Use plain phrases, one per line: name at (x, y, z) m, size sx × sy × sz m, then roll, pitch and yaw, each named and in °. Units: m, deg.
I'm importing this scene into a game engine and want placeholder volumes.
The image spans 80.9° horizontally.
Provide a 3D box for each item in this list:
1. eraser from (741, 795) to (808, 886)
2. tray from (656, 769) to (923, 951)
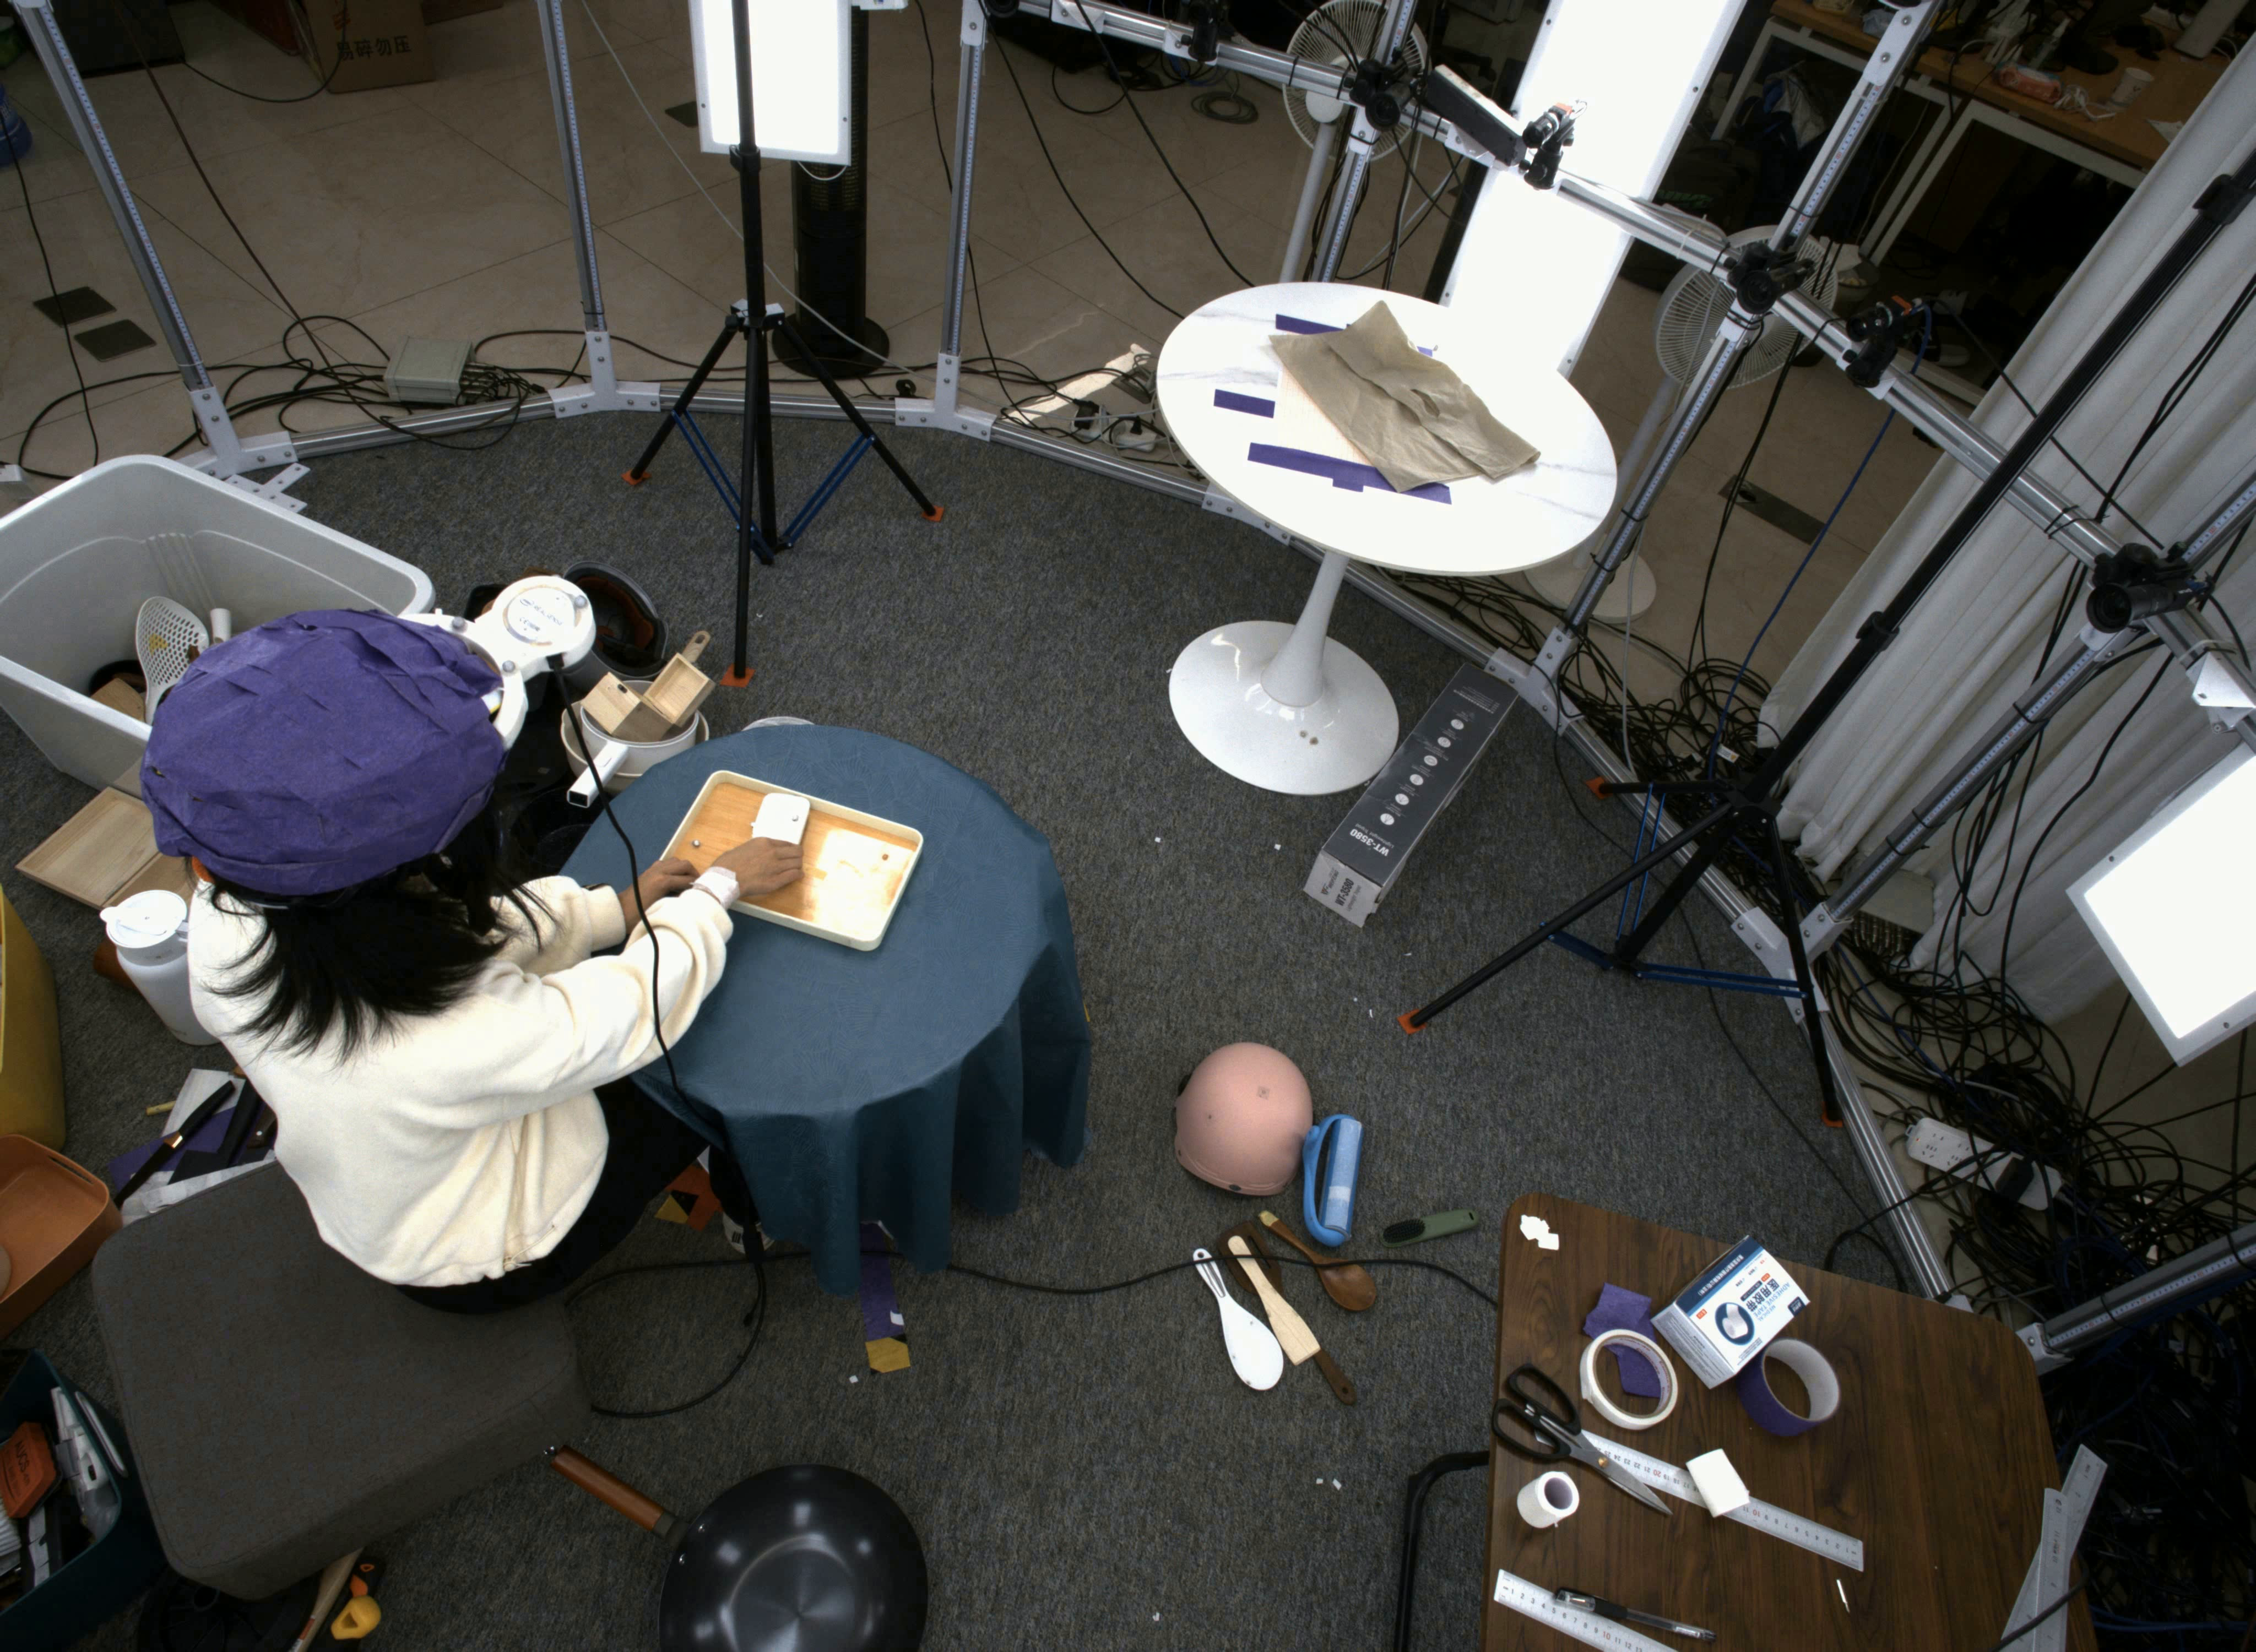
eraser at (-0.456, 0.015, 1.672) m, size 0.063 × 0.035 × 0.129 m, roll 11°, pitch 52°, yaw -5°
tray at (-0.432, 0.040, 1.670) m, size 0.298 × 0.028 × 0.189 m, roll 18°, pitch 51°, yaw -2°
